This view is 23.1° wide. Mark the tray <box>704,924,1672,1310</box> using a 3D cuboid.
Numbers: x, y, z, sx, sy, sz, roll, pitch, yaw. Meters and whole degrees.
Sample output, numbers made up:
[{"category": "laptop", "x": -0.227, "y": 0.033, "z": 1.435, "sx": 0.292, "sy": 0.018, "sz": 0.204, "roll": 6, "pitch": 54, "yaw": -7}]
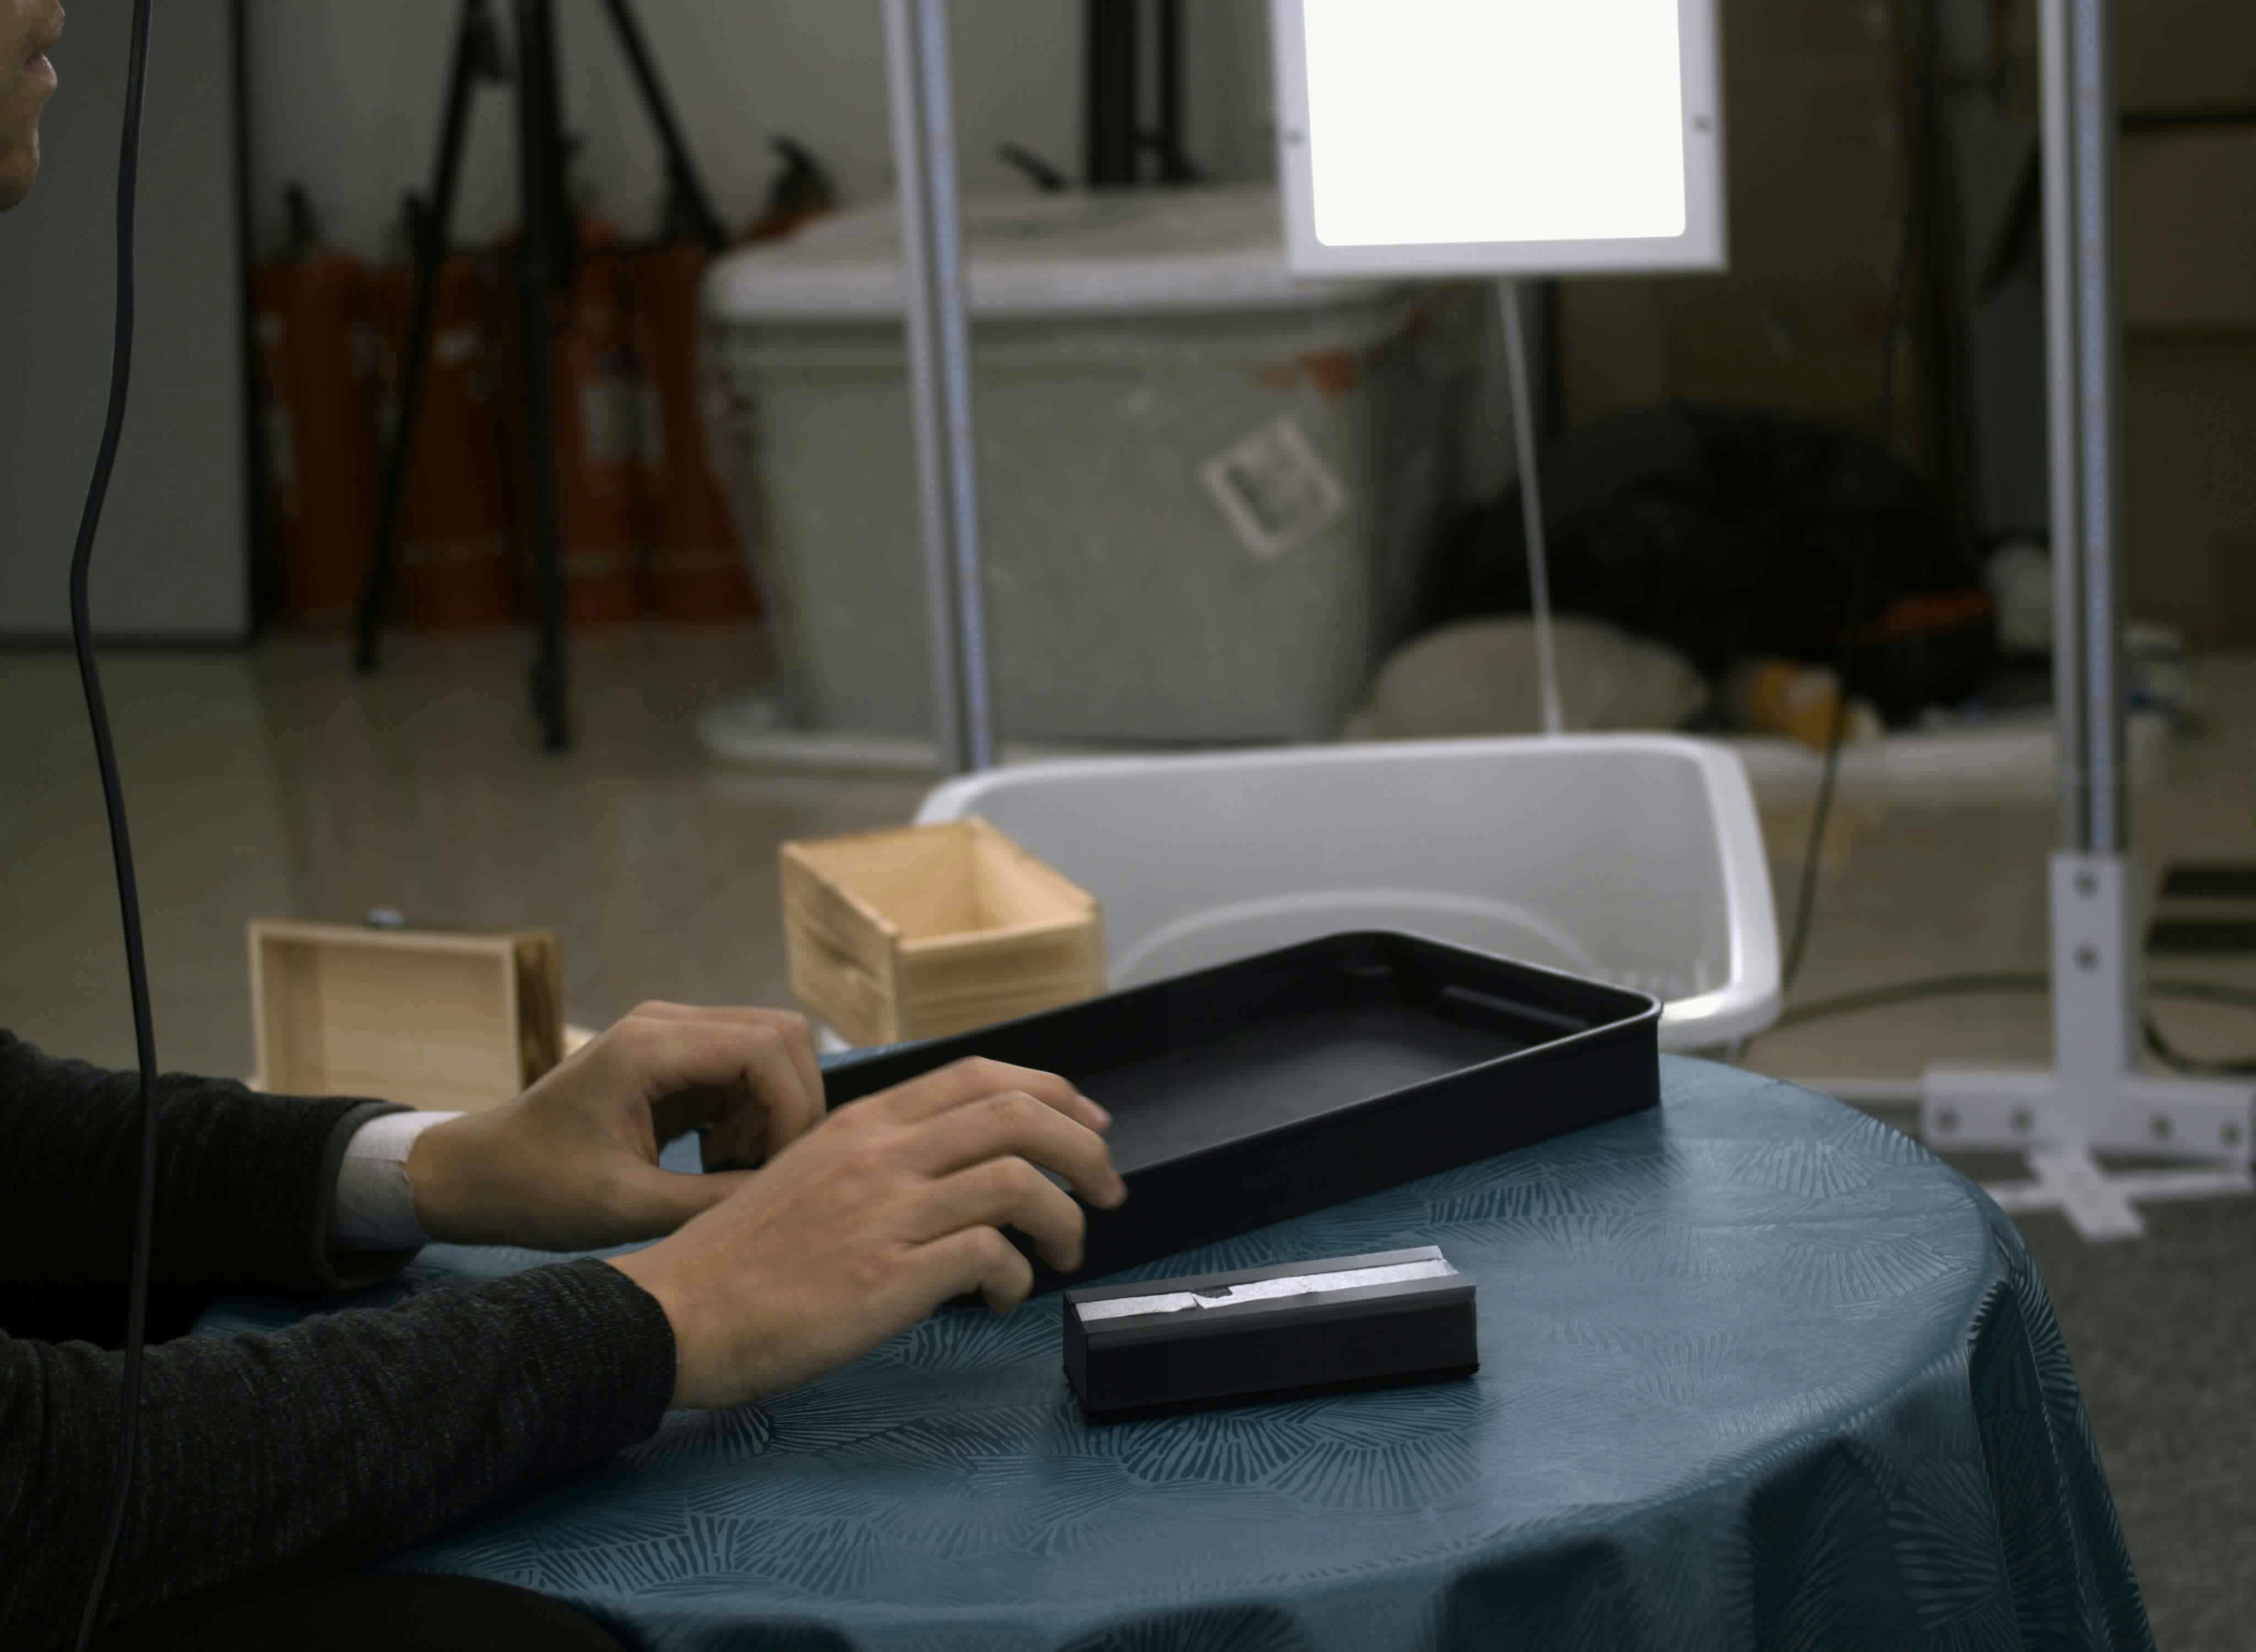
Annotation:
[{"category": "tray", "x": 0.024, "y": 0.097, "z": 1.937, "sx": 0.310, "sy": 0.037, "sz": 0.188, "roll": -15, "pitch": 17, "yaw": -34}]

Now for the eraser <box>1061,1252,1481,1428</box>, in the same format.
[{"category": "eraser", "x": 0.045, "y": 0.157, "z": 1.697, "sx": 0.124, "sy": 0.030, "sz": 0.054, "roll": -8, "pitch": 12, "yaw": -6}]
